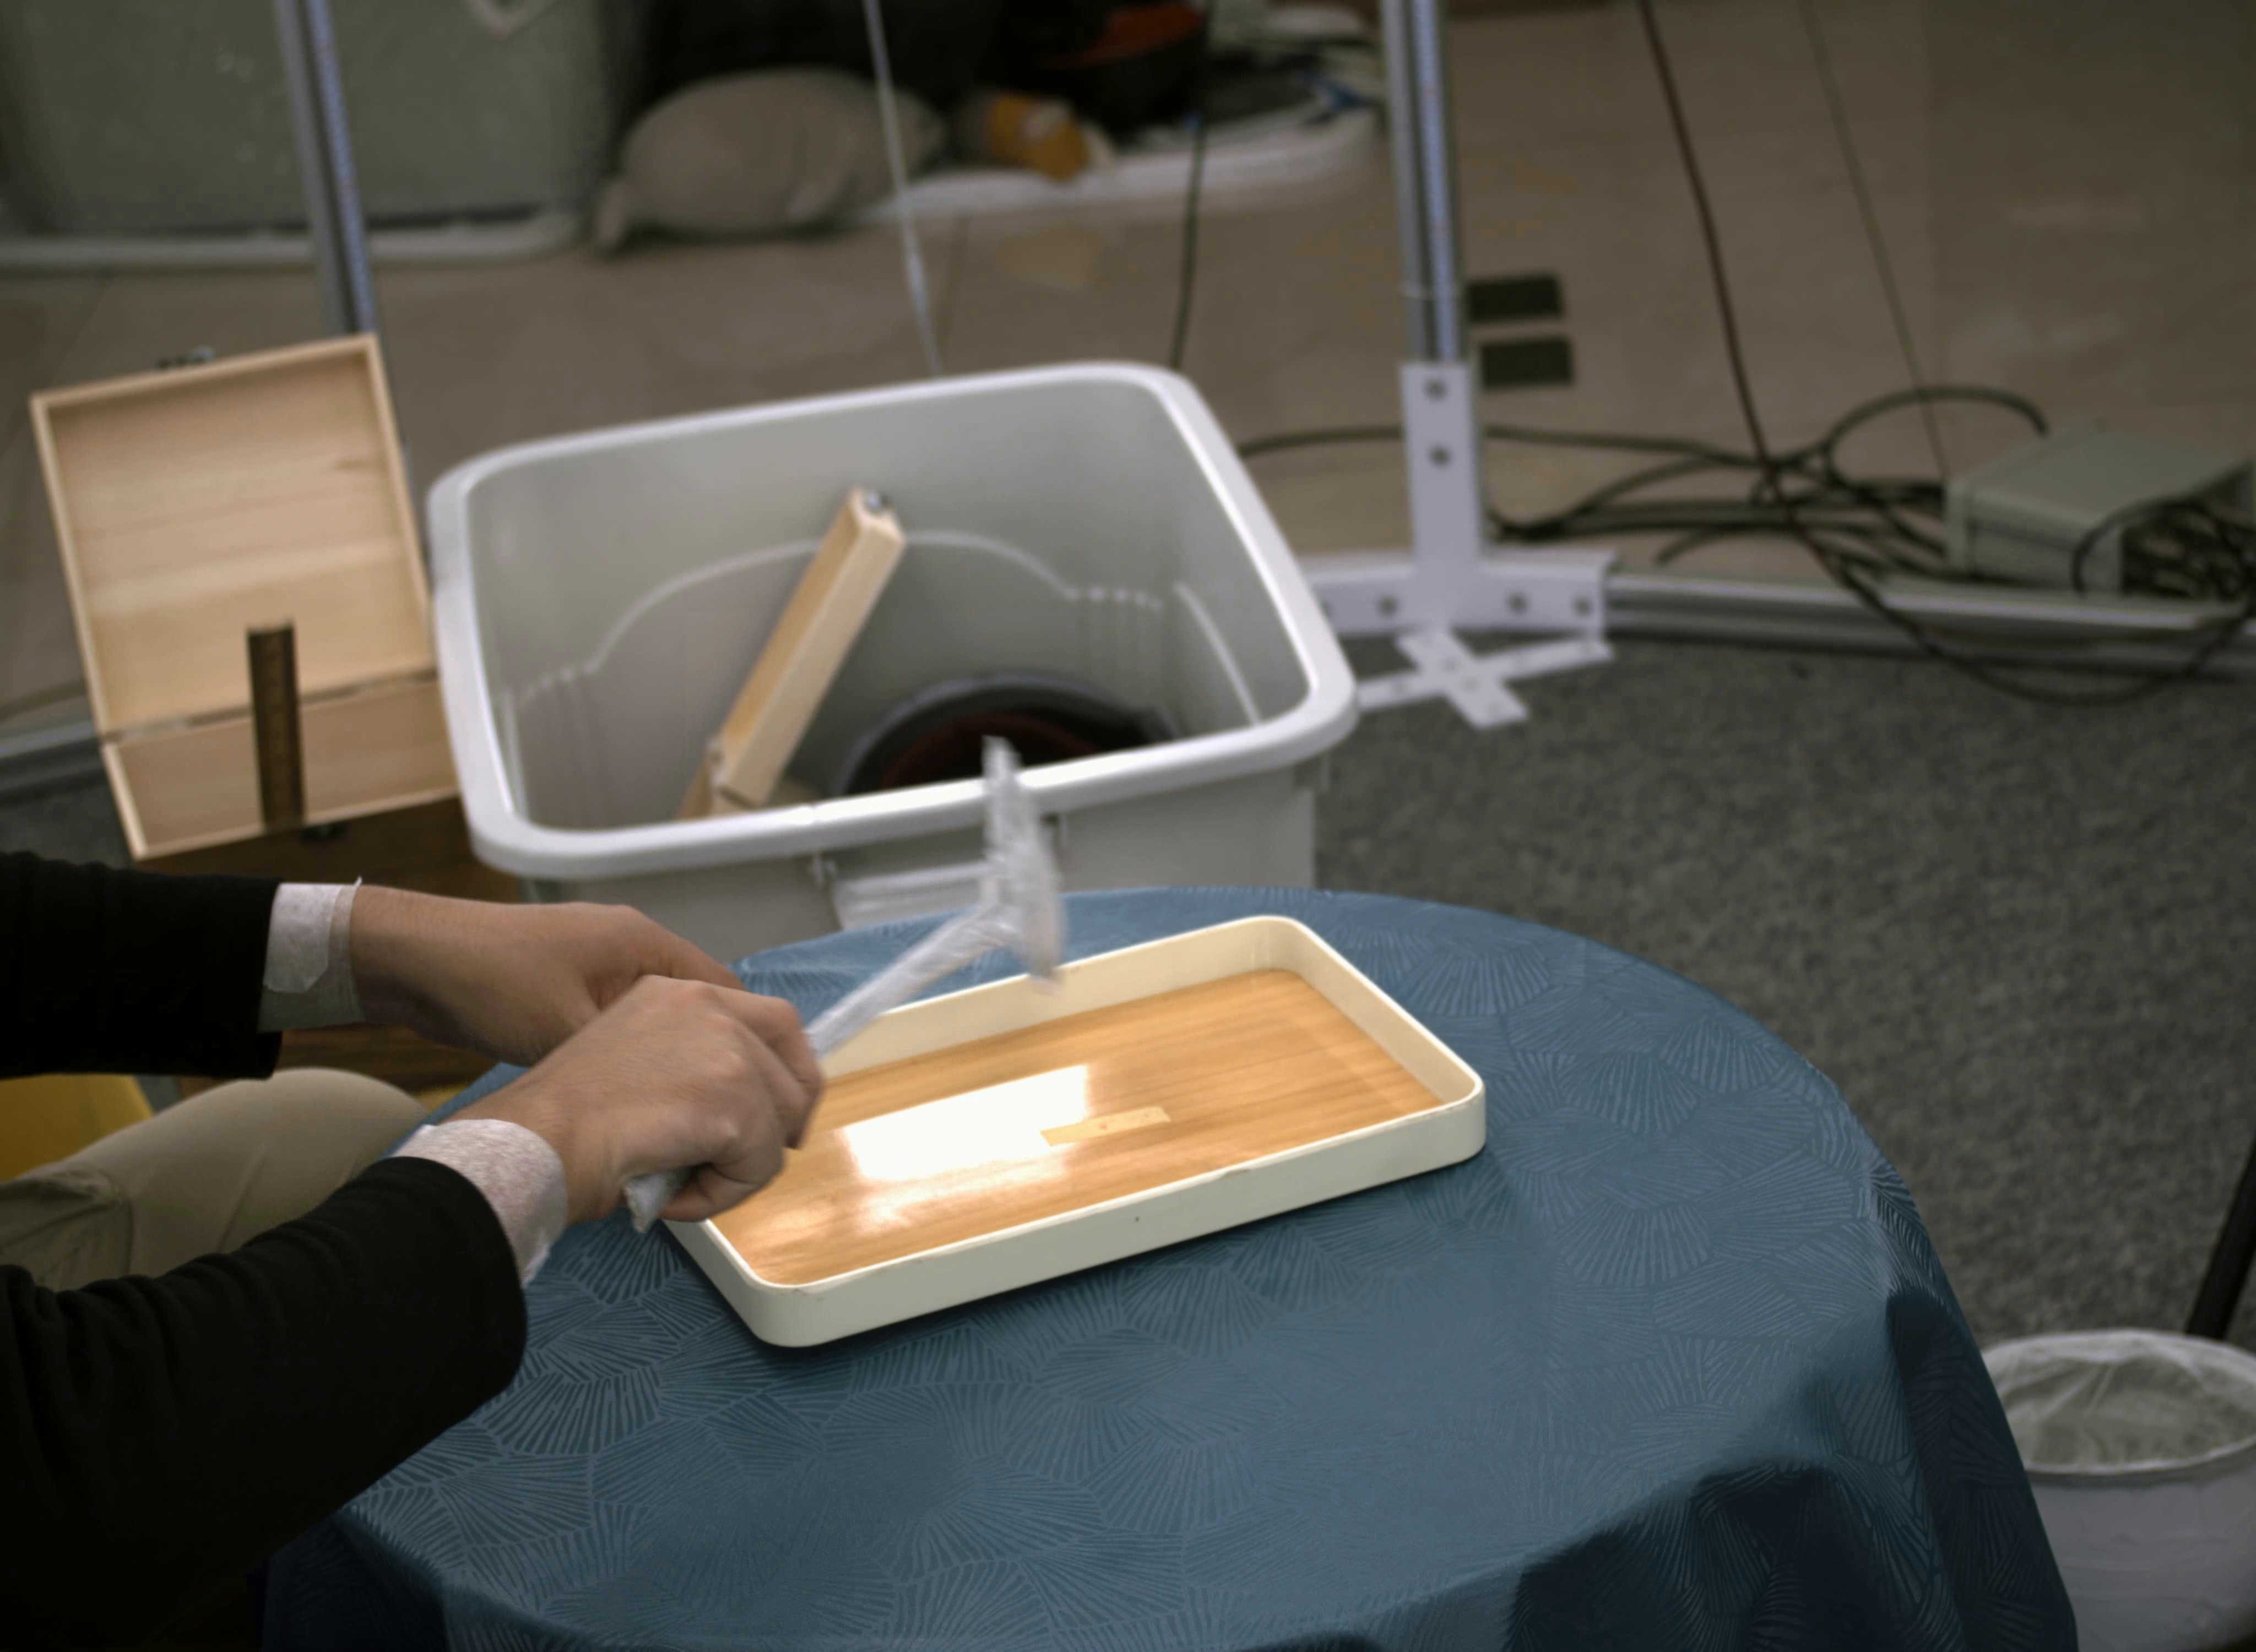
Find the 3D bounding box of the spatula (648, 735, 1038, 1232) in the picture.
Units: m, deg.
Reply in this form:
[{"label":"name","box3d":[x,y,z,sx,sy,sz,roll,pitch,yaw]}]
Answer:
[{"label":"spatula","box3d":[-0.103,0.064,2.047,0.045,0.100,0.361,-6,18,29]}]

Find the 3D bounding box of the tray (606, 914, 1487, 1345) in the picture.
[{"label":"tray","box3d":[-0.032,0.112,2.168,0.299,0.028,0.189,-14,27,-19]}]
